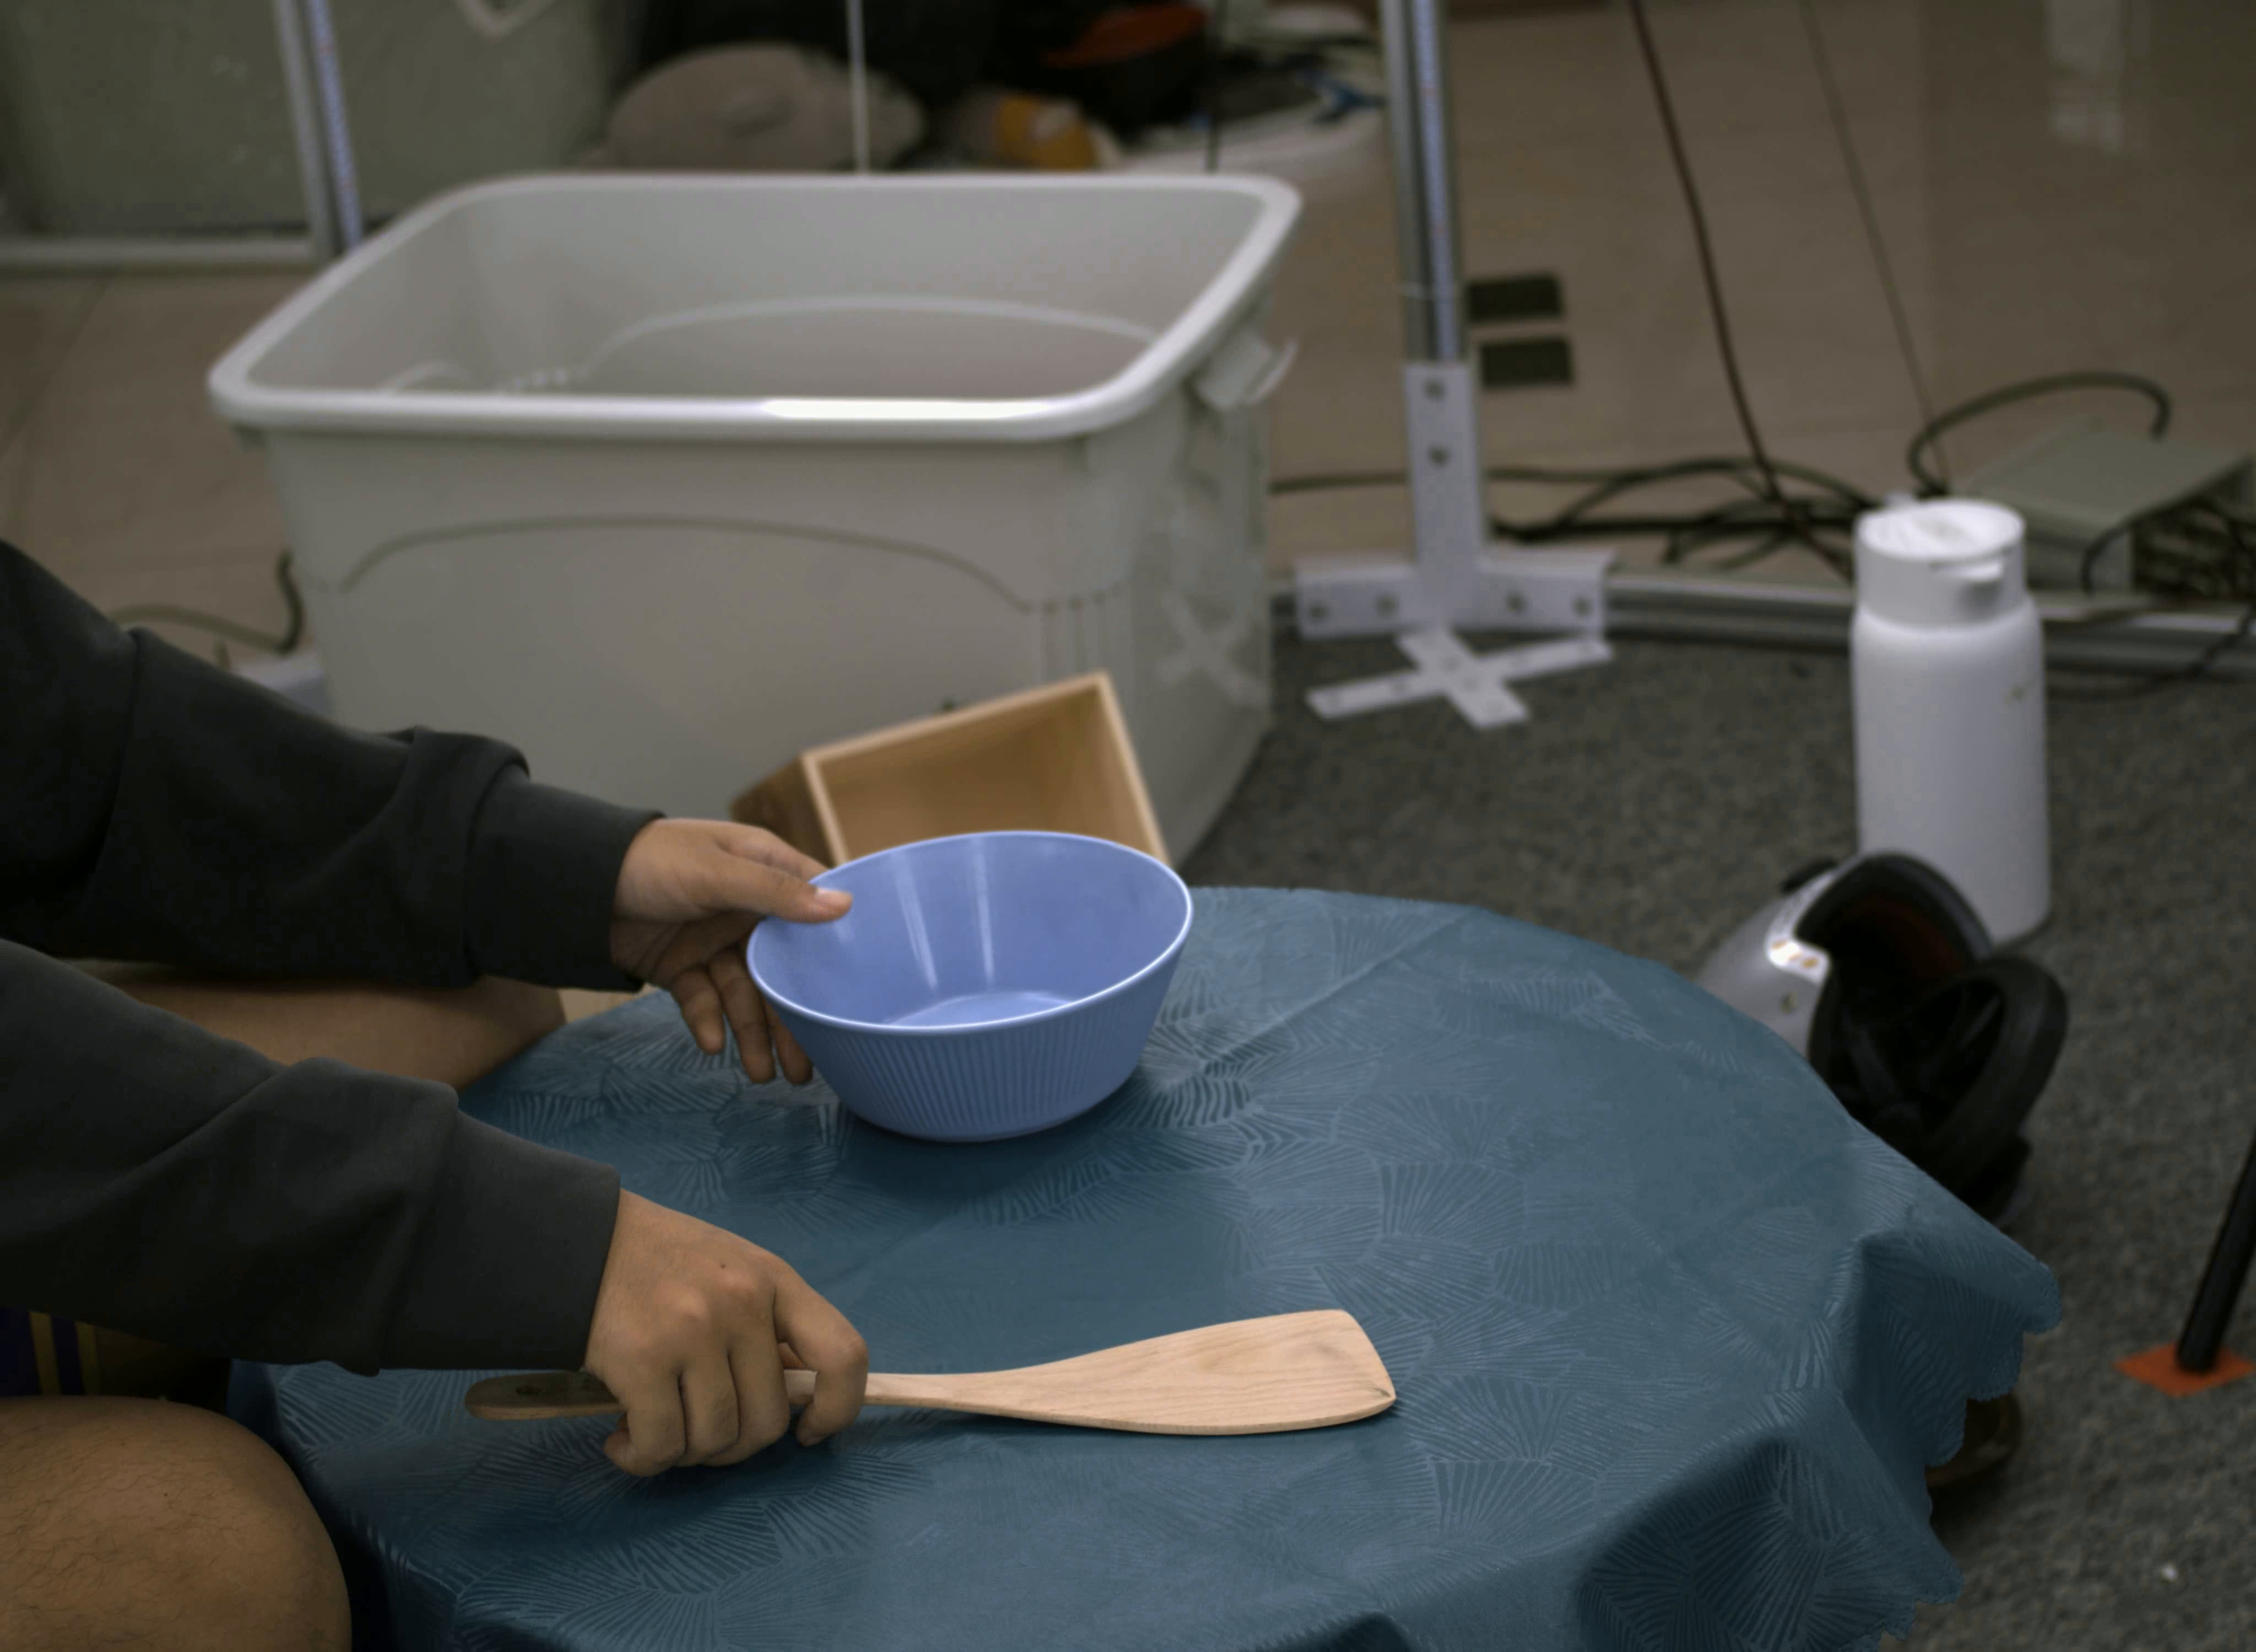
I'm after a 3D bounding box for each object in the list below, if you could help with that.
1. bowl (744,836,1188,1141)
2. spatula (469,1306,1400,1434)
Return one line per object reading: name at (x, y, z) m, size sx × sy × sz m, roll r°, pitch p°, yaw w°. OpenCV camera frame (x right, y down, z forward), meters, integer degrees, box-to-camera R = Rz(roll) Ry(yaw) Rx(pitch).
bowl at (-0.060, 0.069, 2.228) m, size 0.176 × 0.071 × 0.173 m, roll -5°, pitch 25°, yaw 3°
spatula at (-0.069, 0.196, 2.007) m, size 0.327 × 0.017 × 0.079 m, roll -1°, pitch 24°, yaw -2°
